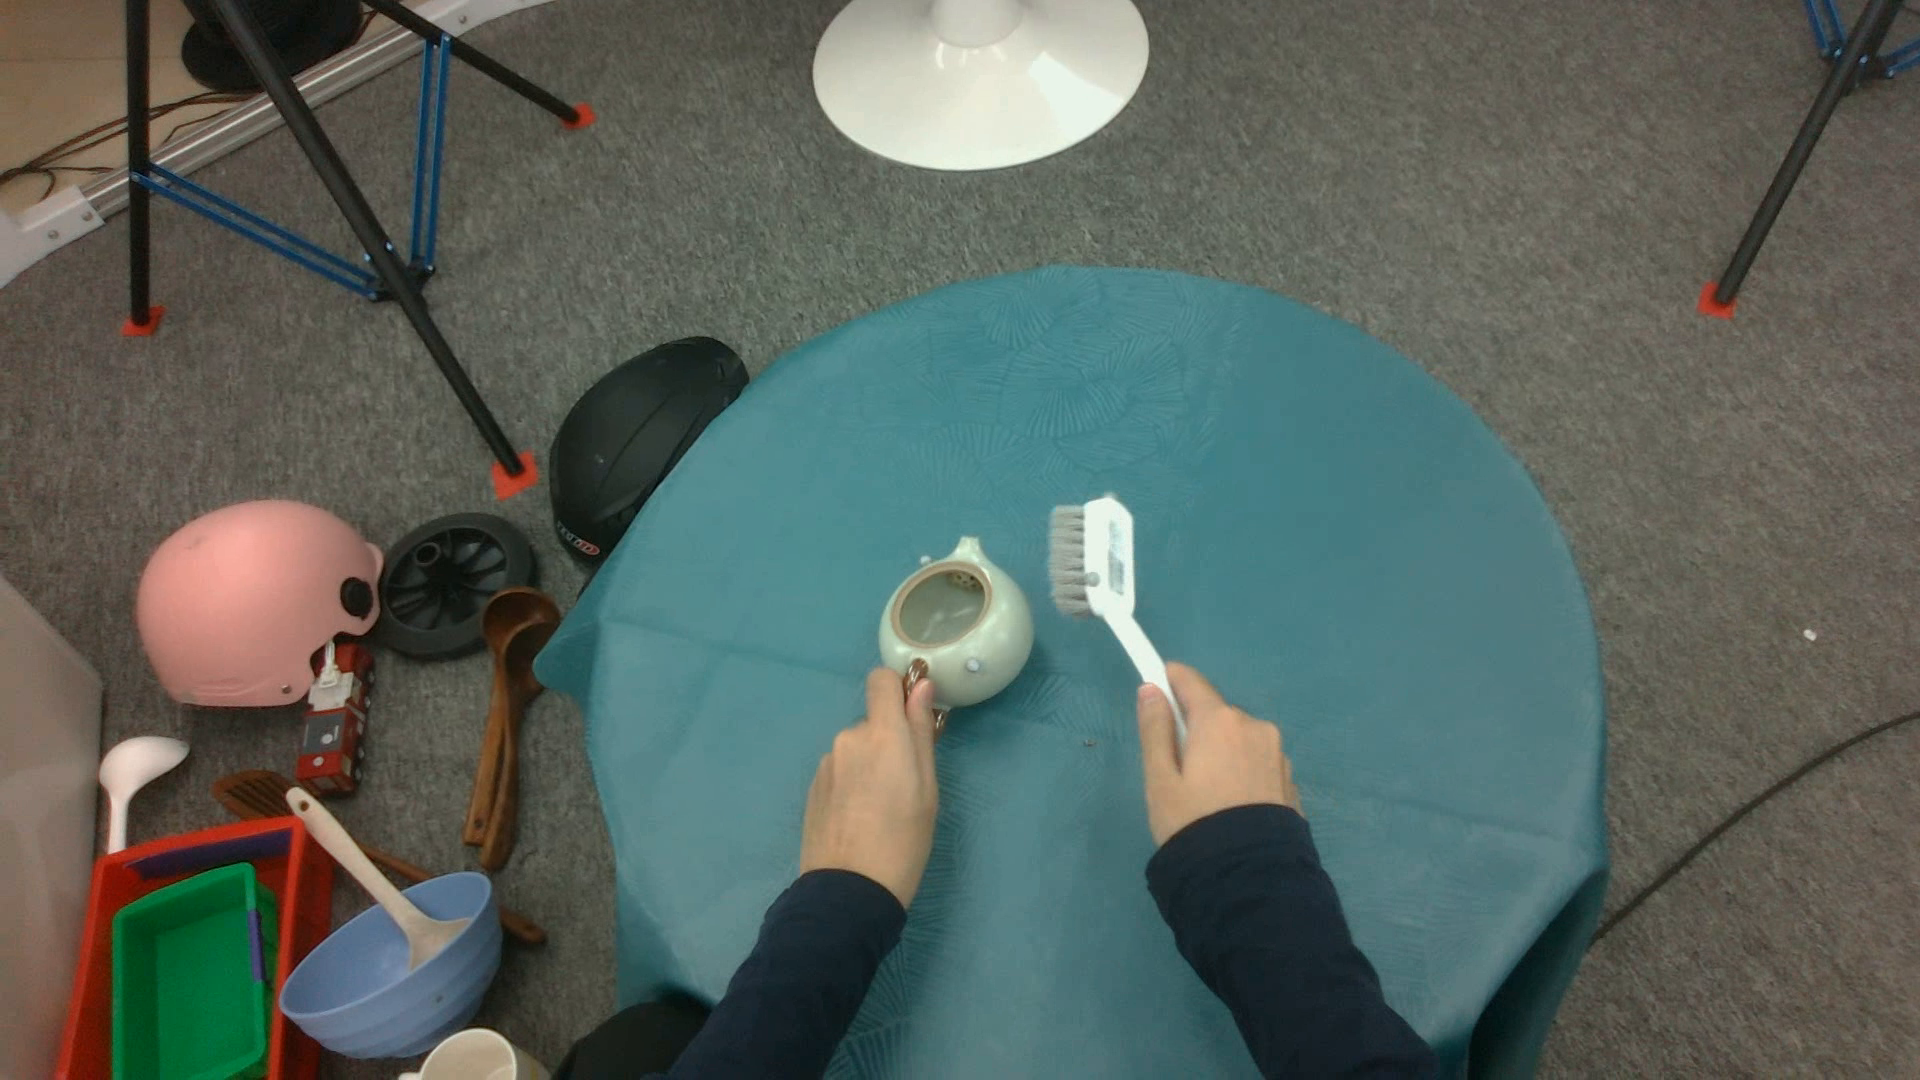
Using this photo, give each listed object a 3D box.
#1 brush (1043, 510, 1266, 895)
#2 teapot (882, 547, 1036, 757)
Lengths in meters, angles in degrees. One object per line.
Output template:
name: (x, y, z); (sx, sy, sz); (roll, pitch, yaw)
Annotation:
brush: (0.096, 0.084, 0.740); (0.050, 0.034, 0.244); (-35, 54, 23)
teapot: (-0.004, 0.067, 0.804); (0.091, 0.059, 0.128); (2, 51, 25)
